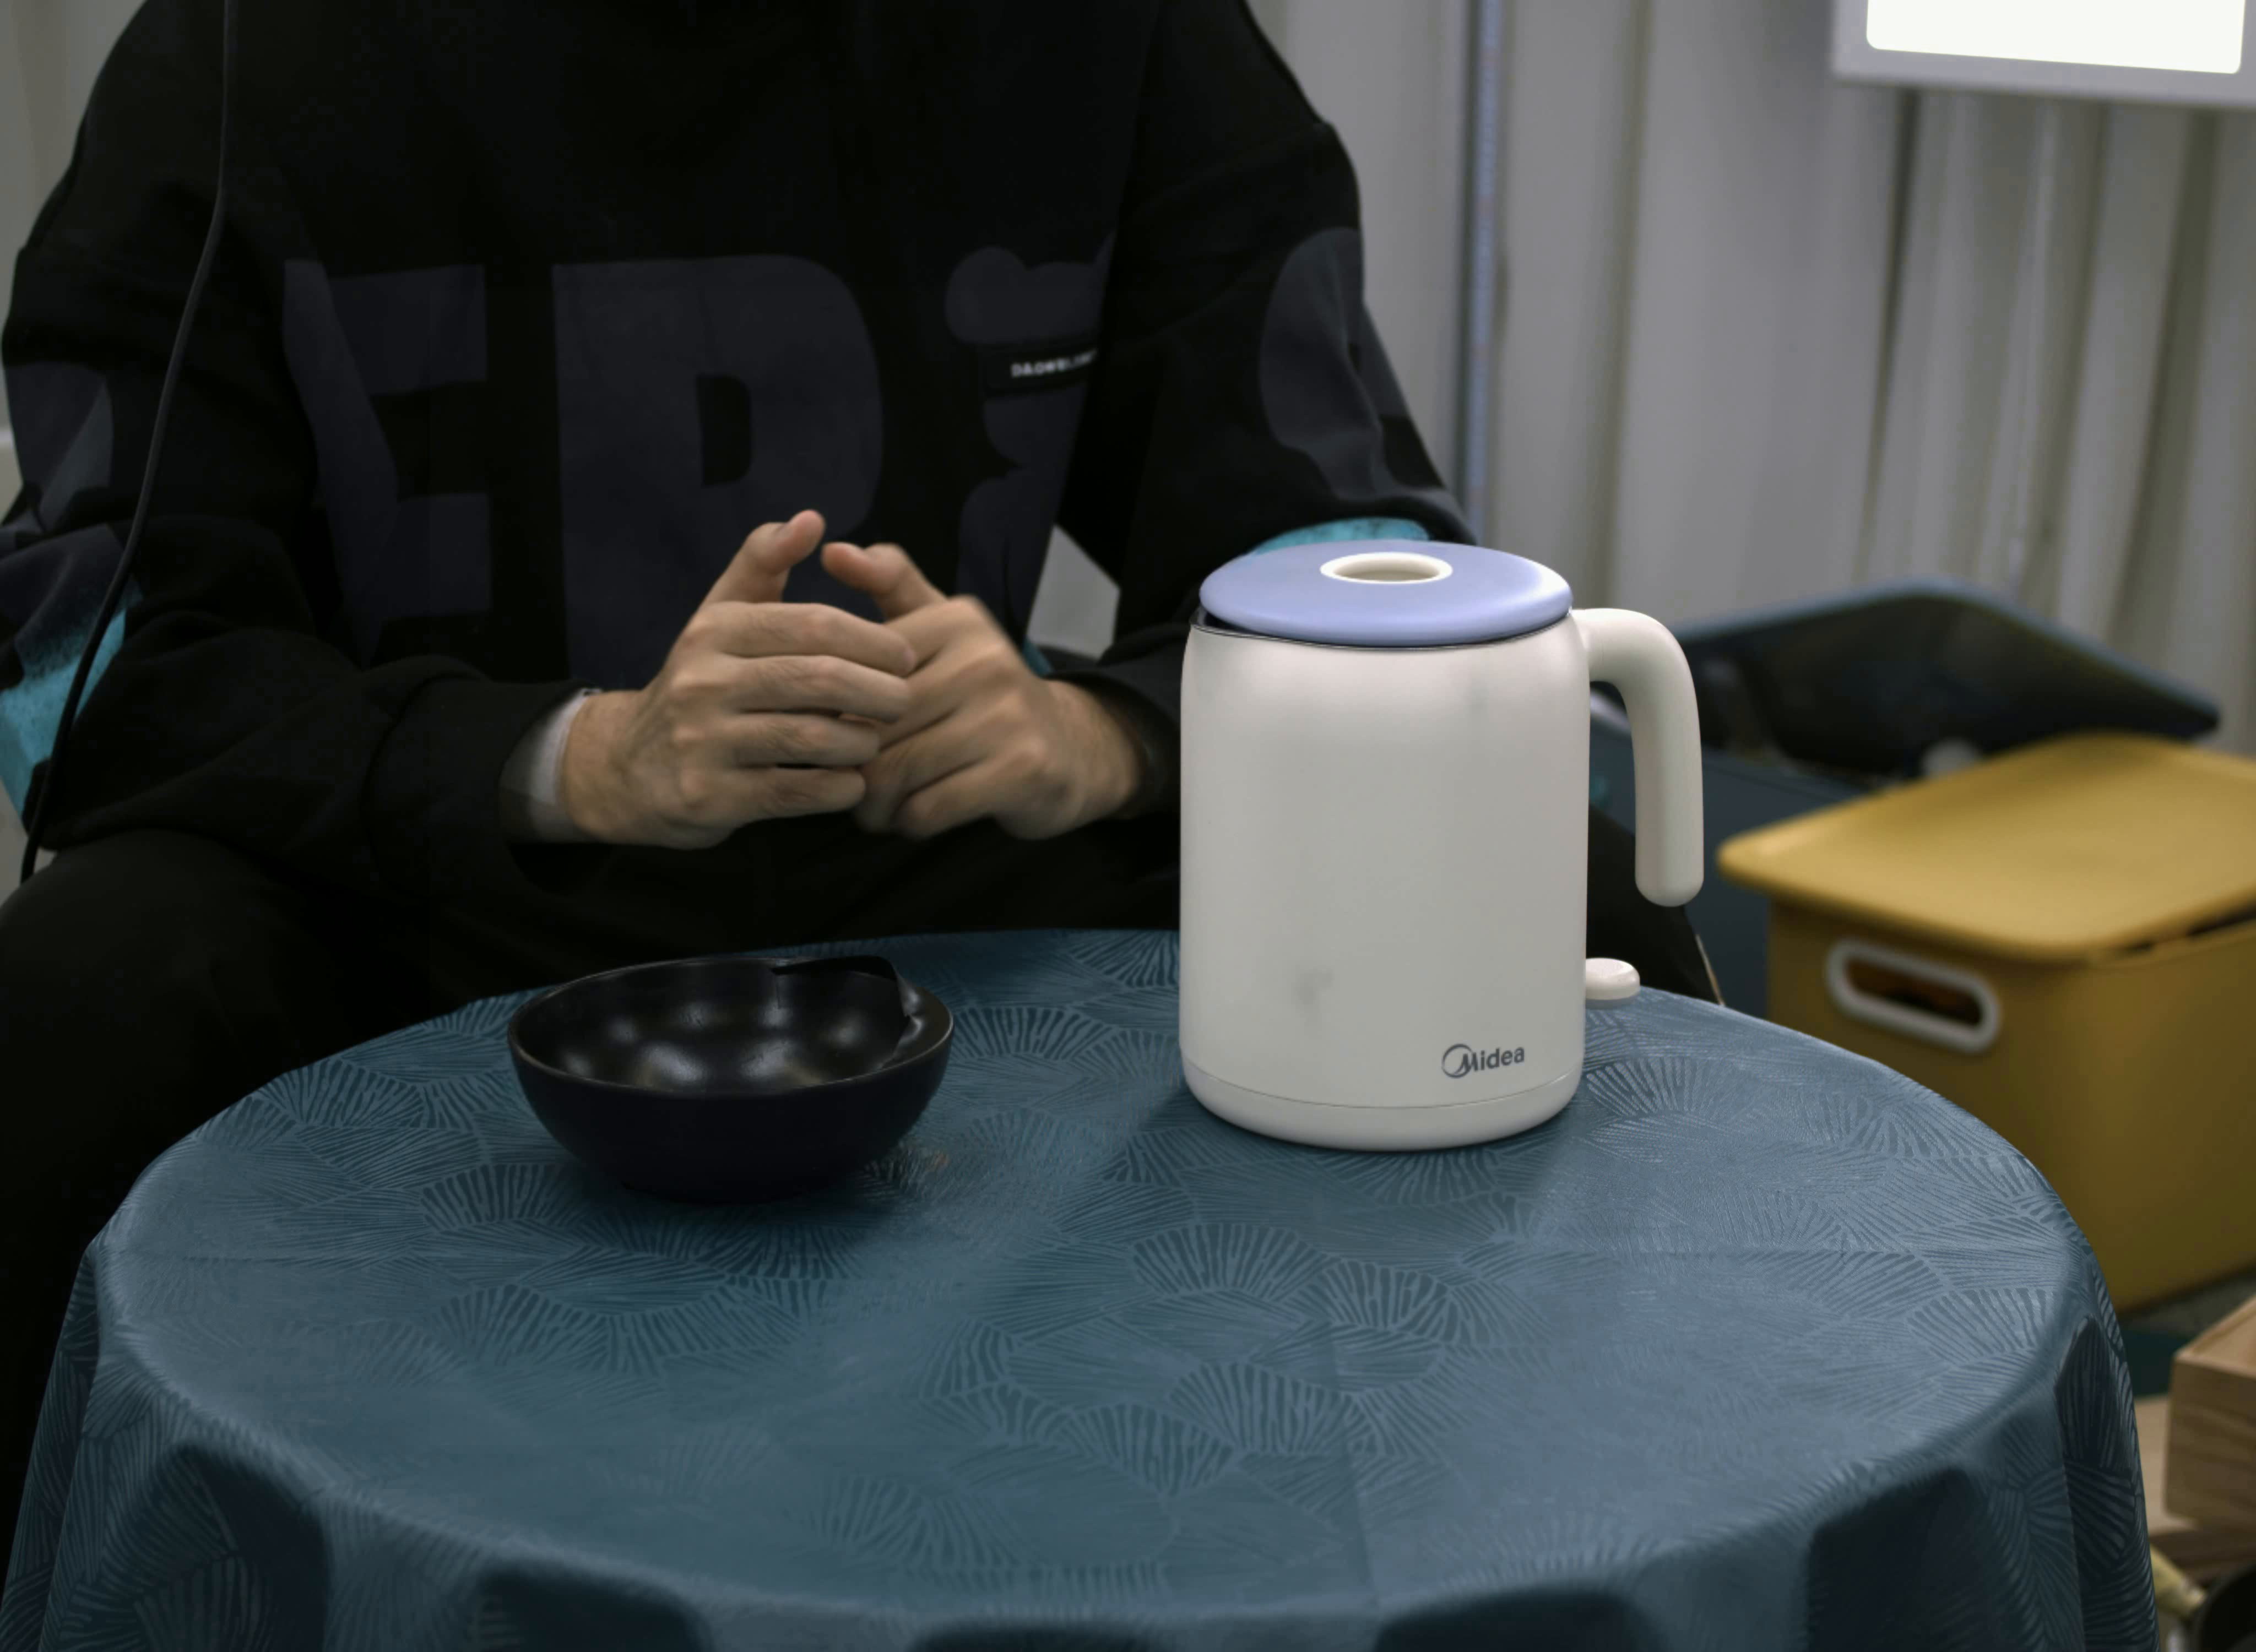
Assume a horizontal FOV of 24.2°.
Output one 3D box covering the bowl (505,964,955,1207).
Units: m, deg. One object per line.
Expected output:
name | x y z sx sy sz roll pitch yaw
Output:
bowl | -0.122 0.084 1.628 0.139 0.050 0.139 -1 14 1

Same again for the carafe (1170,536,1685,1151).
carafe | 0.102 0.002 1.700 0.192 0.184 0.130 -6 18 -29
